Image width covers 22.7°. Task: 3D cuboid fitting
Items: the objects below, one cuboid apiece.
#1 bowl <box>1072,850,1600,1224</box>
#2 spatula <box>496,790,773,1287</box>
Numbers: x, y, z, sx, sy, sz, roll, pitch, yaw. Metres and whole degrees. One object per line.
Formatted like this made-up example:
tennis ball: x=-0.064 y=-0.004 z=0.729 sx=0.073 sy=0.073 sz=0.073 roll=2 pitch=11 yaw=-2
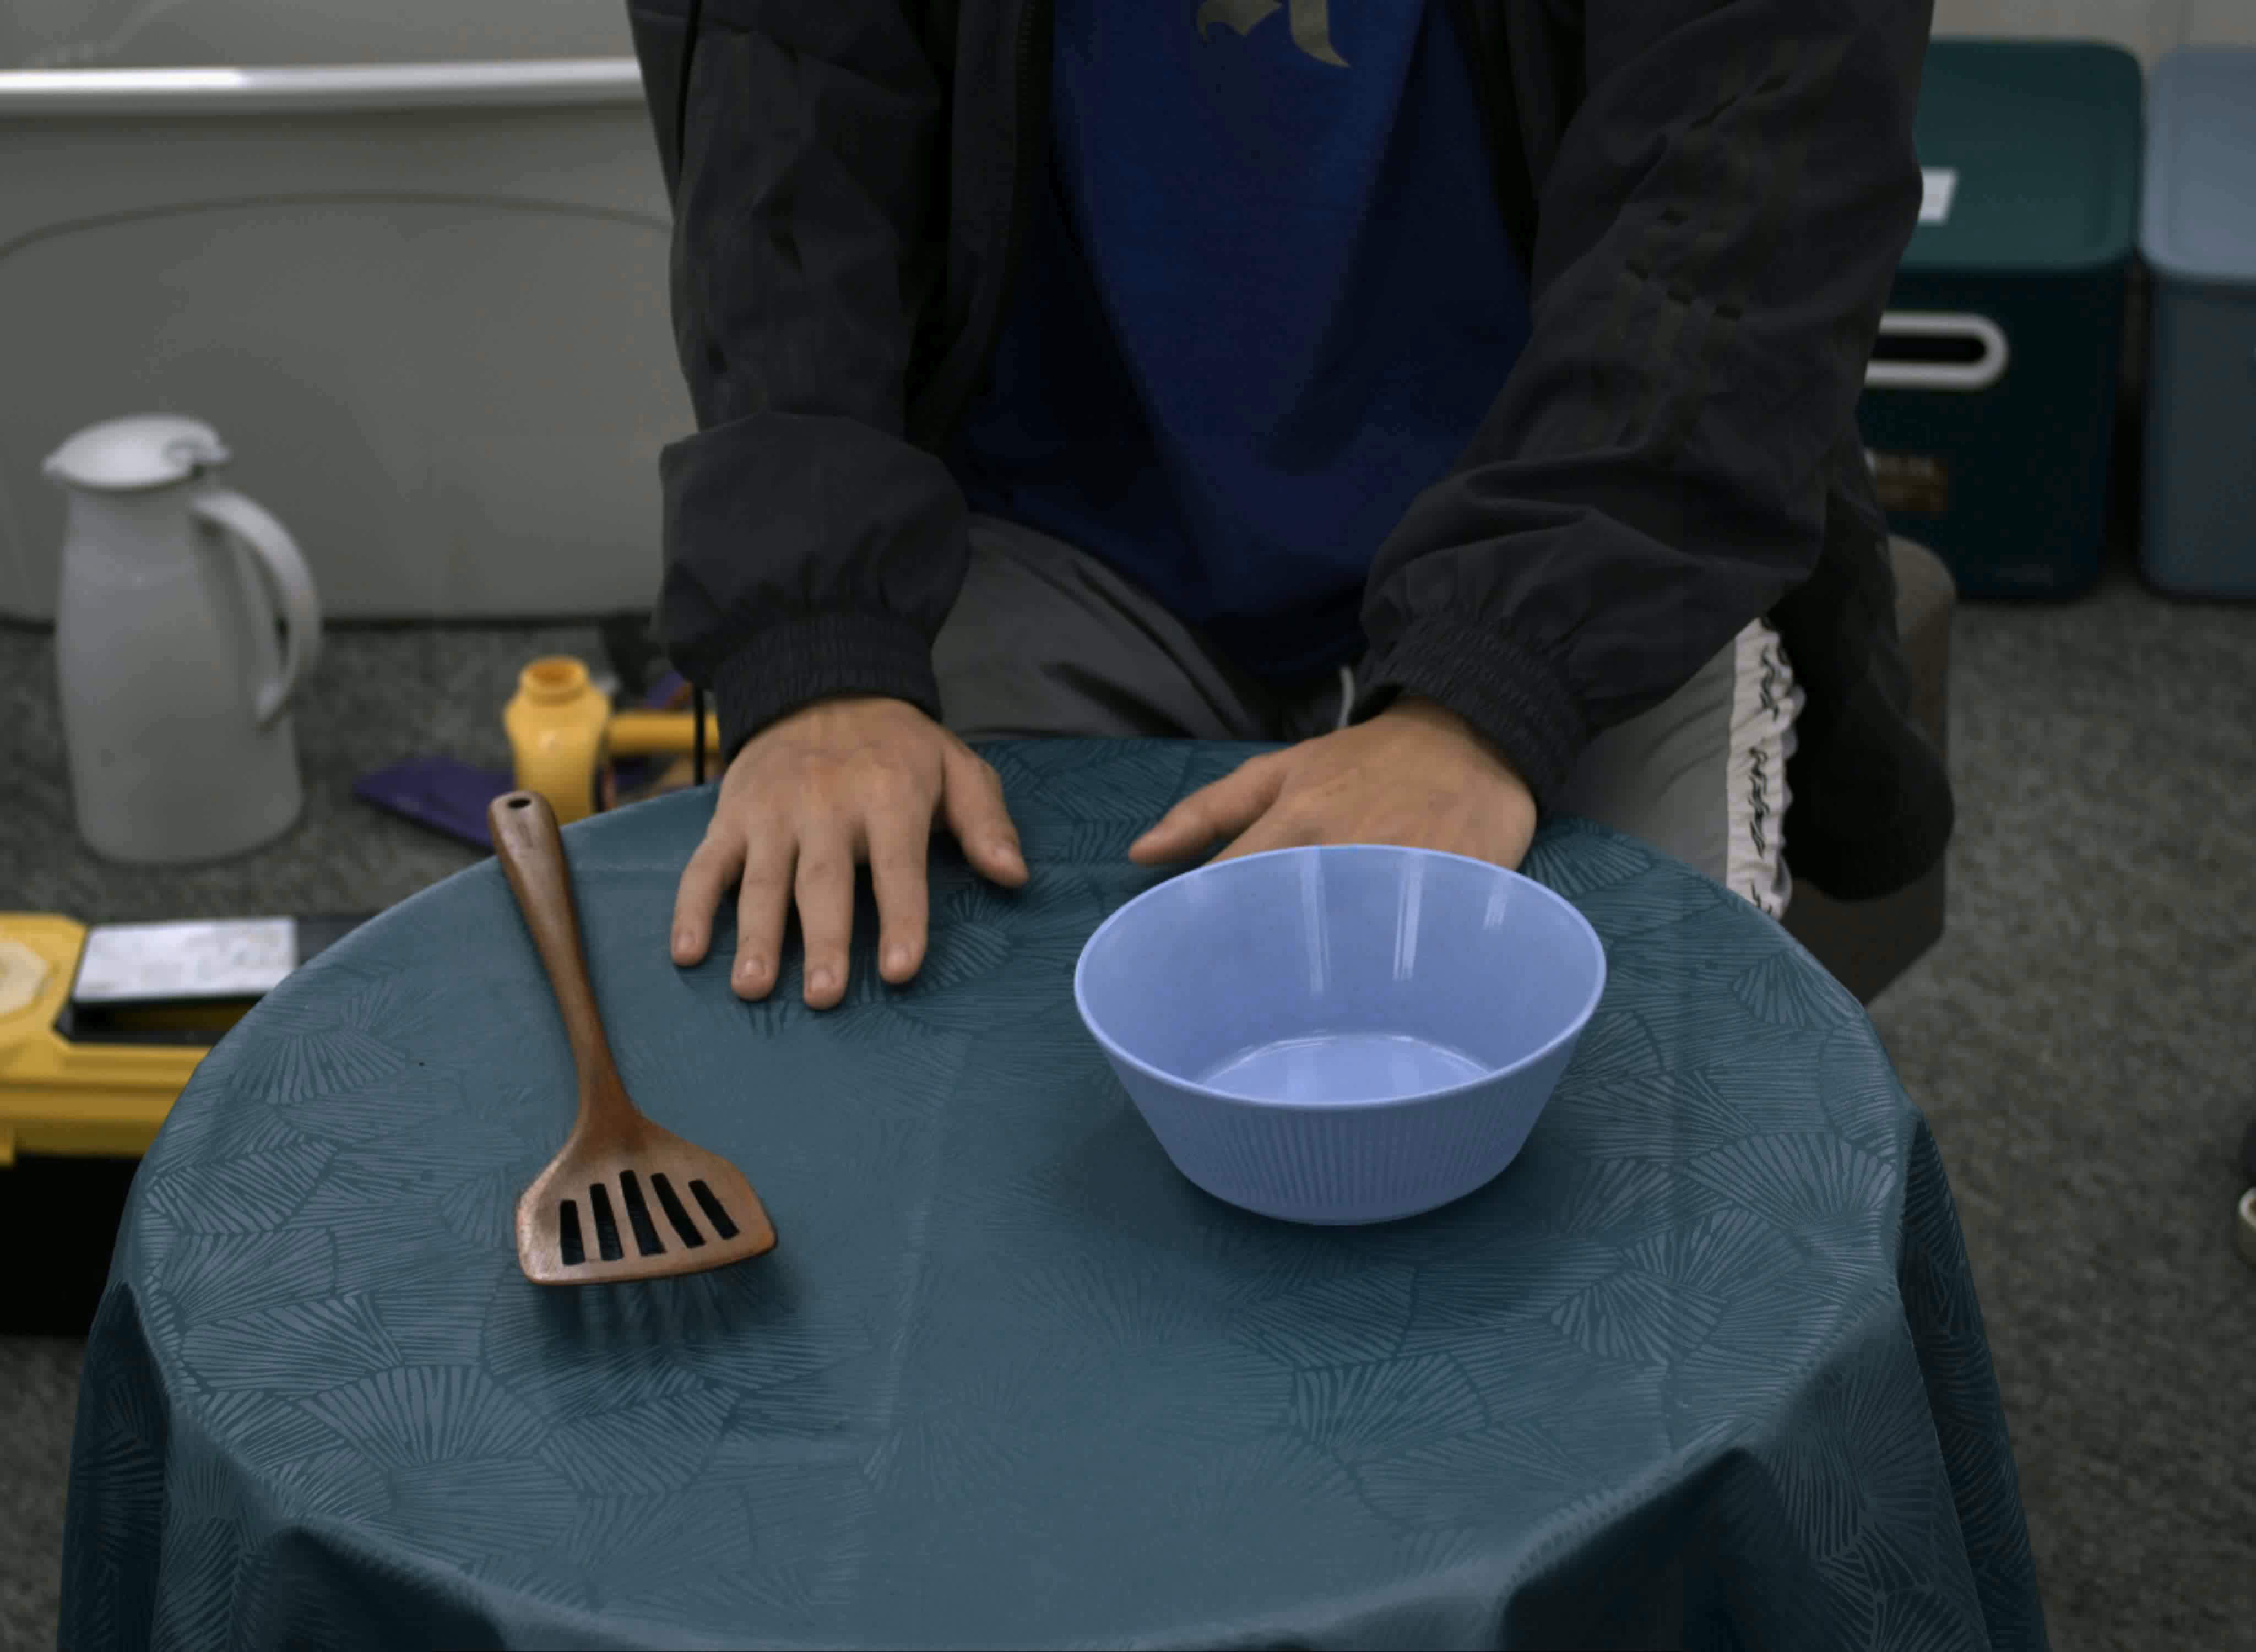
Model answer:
bowl: x=0.070 y=0.076 z=1.867 sx=0.175 sy=0.069 sz=0.178 roll=-2 pitch=26 yaw=1
spatula: x=-0.190 y=0.072 z=1.955 sx=0.085 sy=0.024 sz=0.391 roll=-7 pitch=26 yaw=-9
